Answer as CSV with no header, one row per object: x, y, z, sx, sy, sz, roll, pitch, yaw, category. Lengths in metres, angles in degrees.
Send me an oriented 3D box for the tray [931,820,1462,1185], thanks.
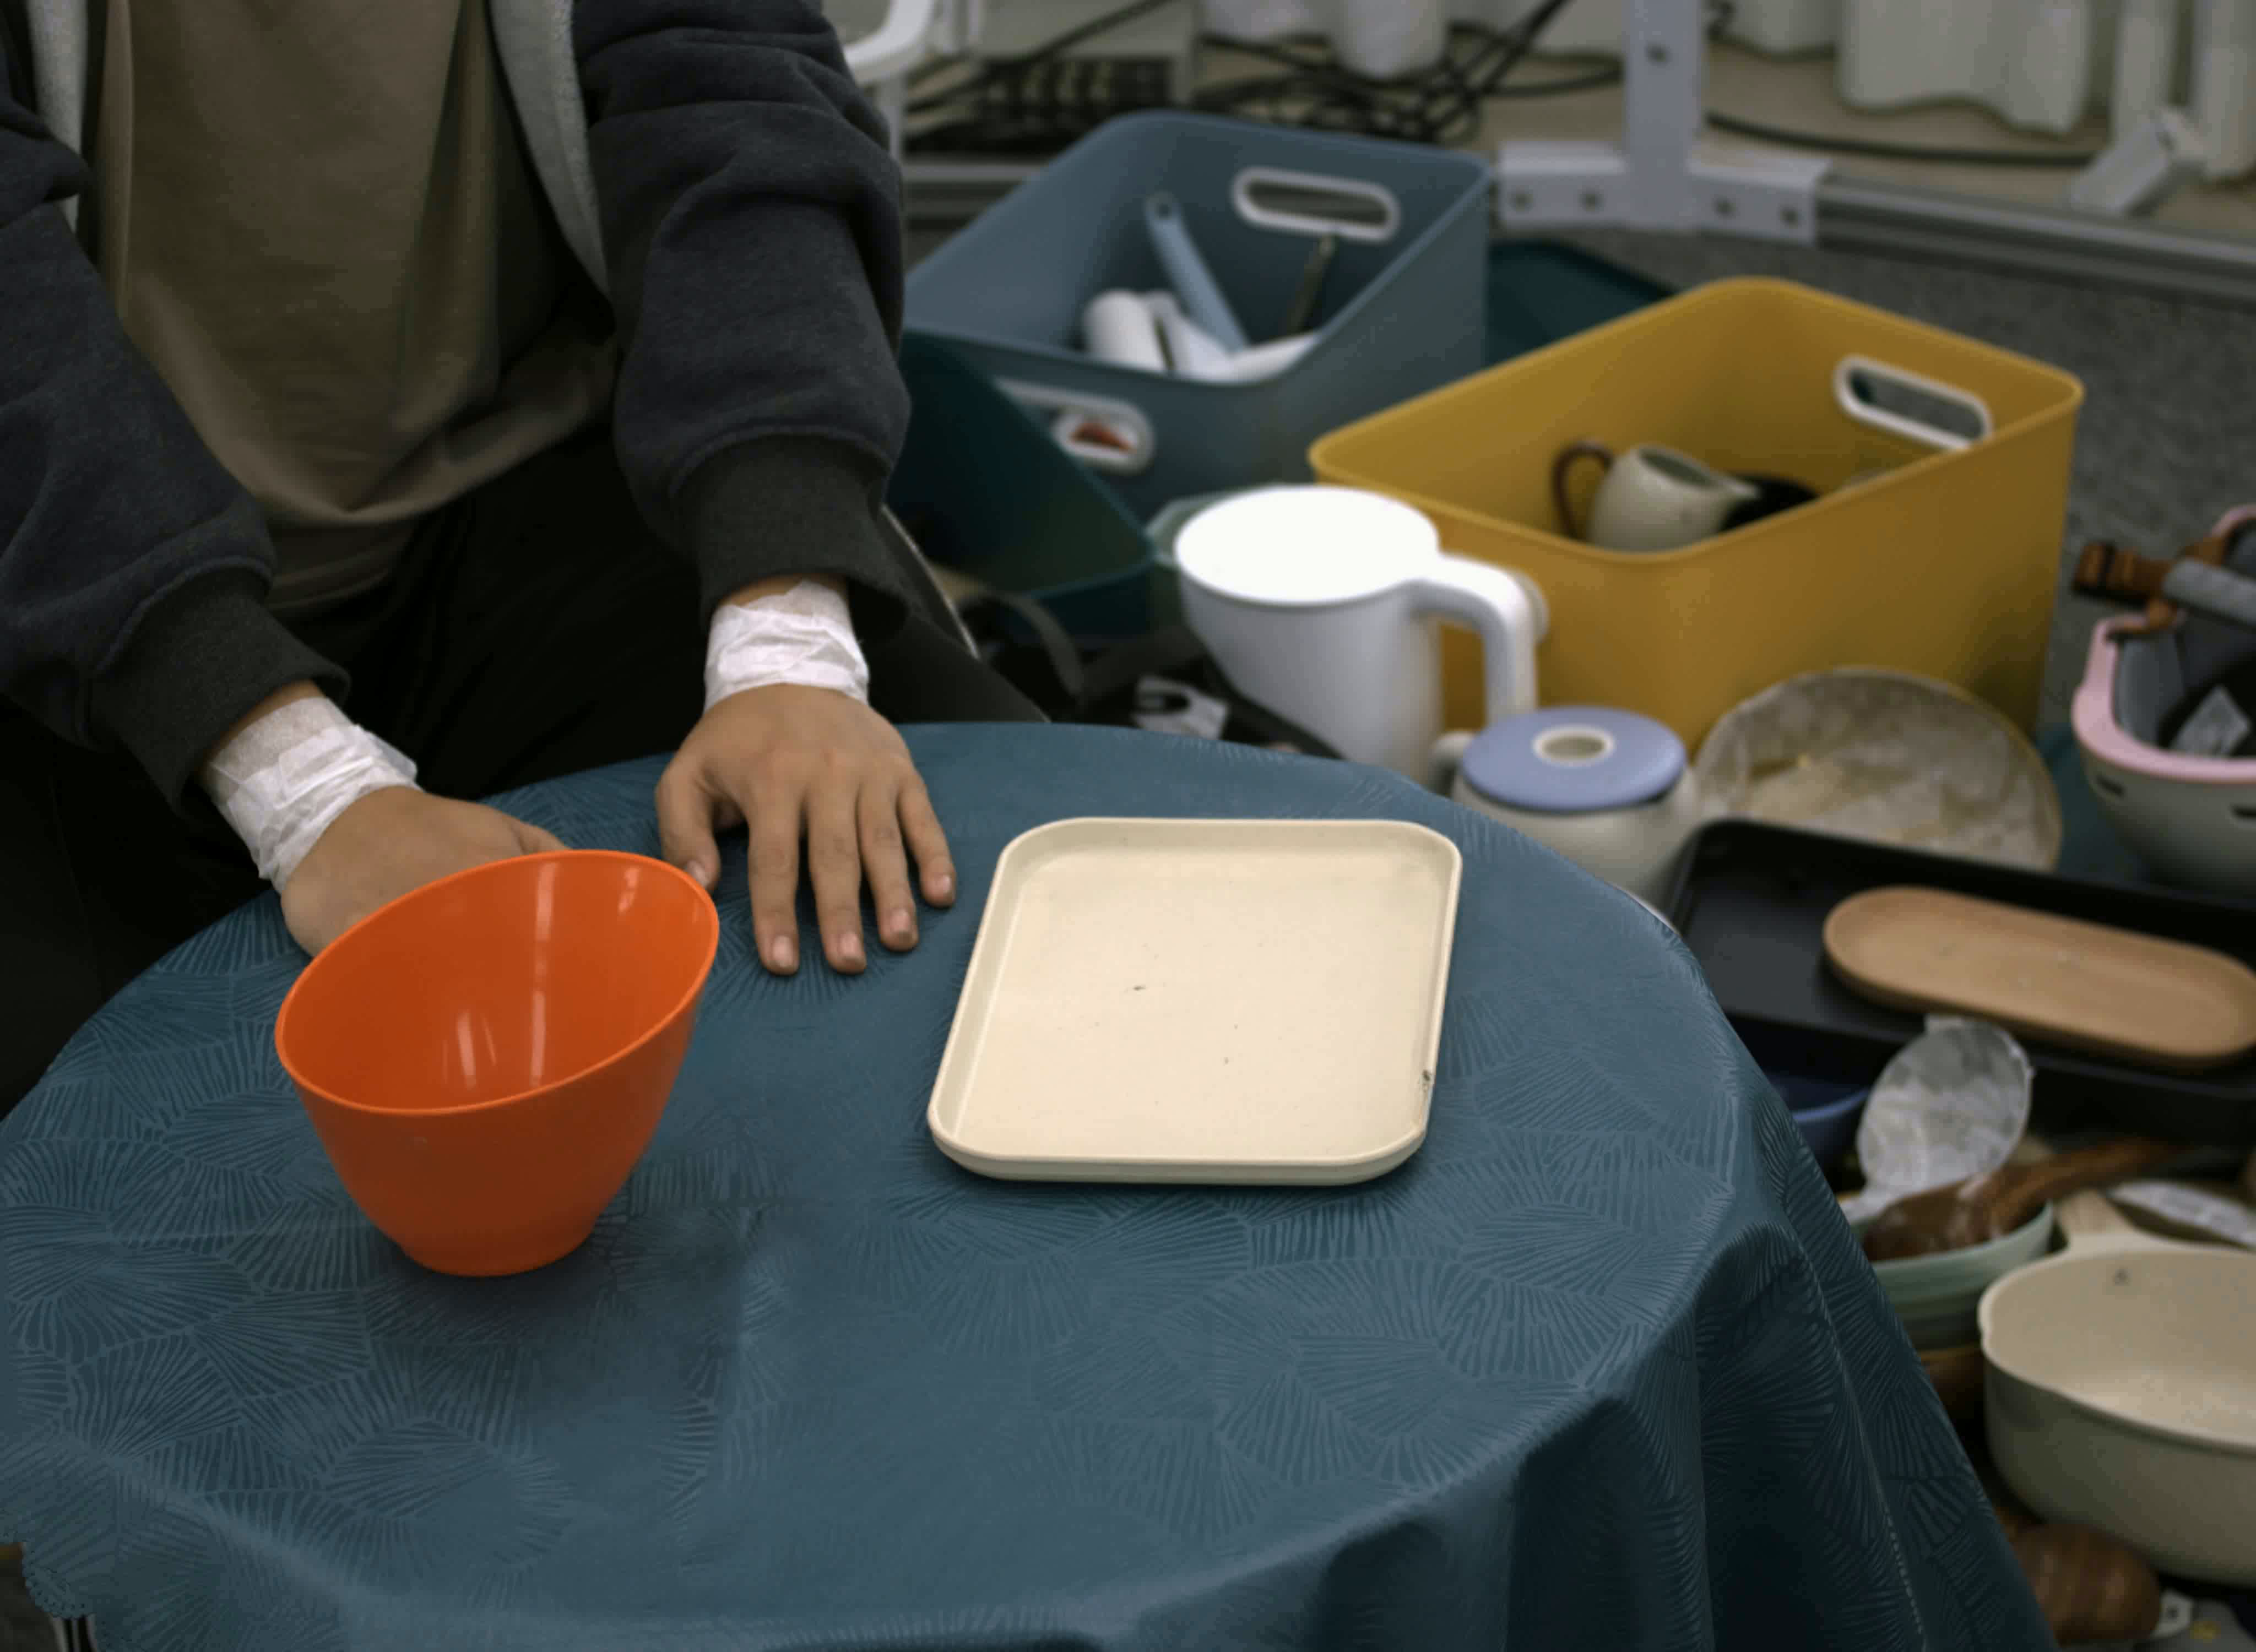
0.027,0.061,1.958,0.170,0.017,0.243,0,28,7,tray

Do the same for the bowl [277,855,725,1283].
-0.202,0.087,1.841,0.147,0.103,0.150,-1,28,1,bowl
